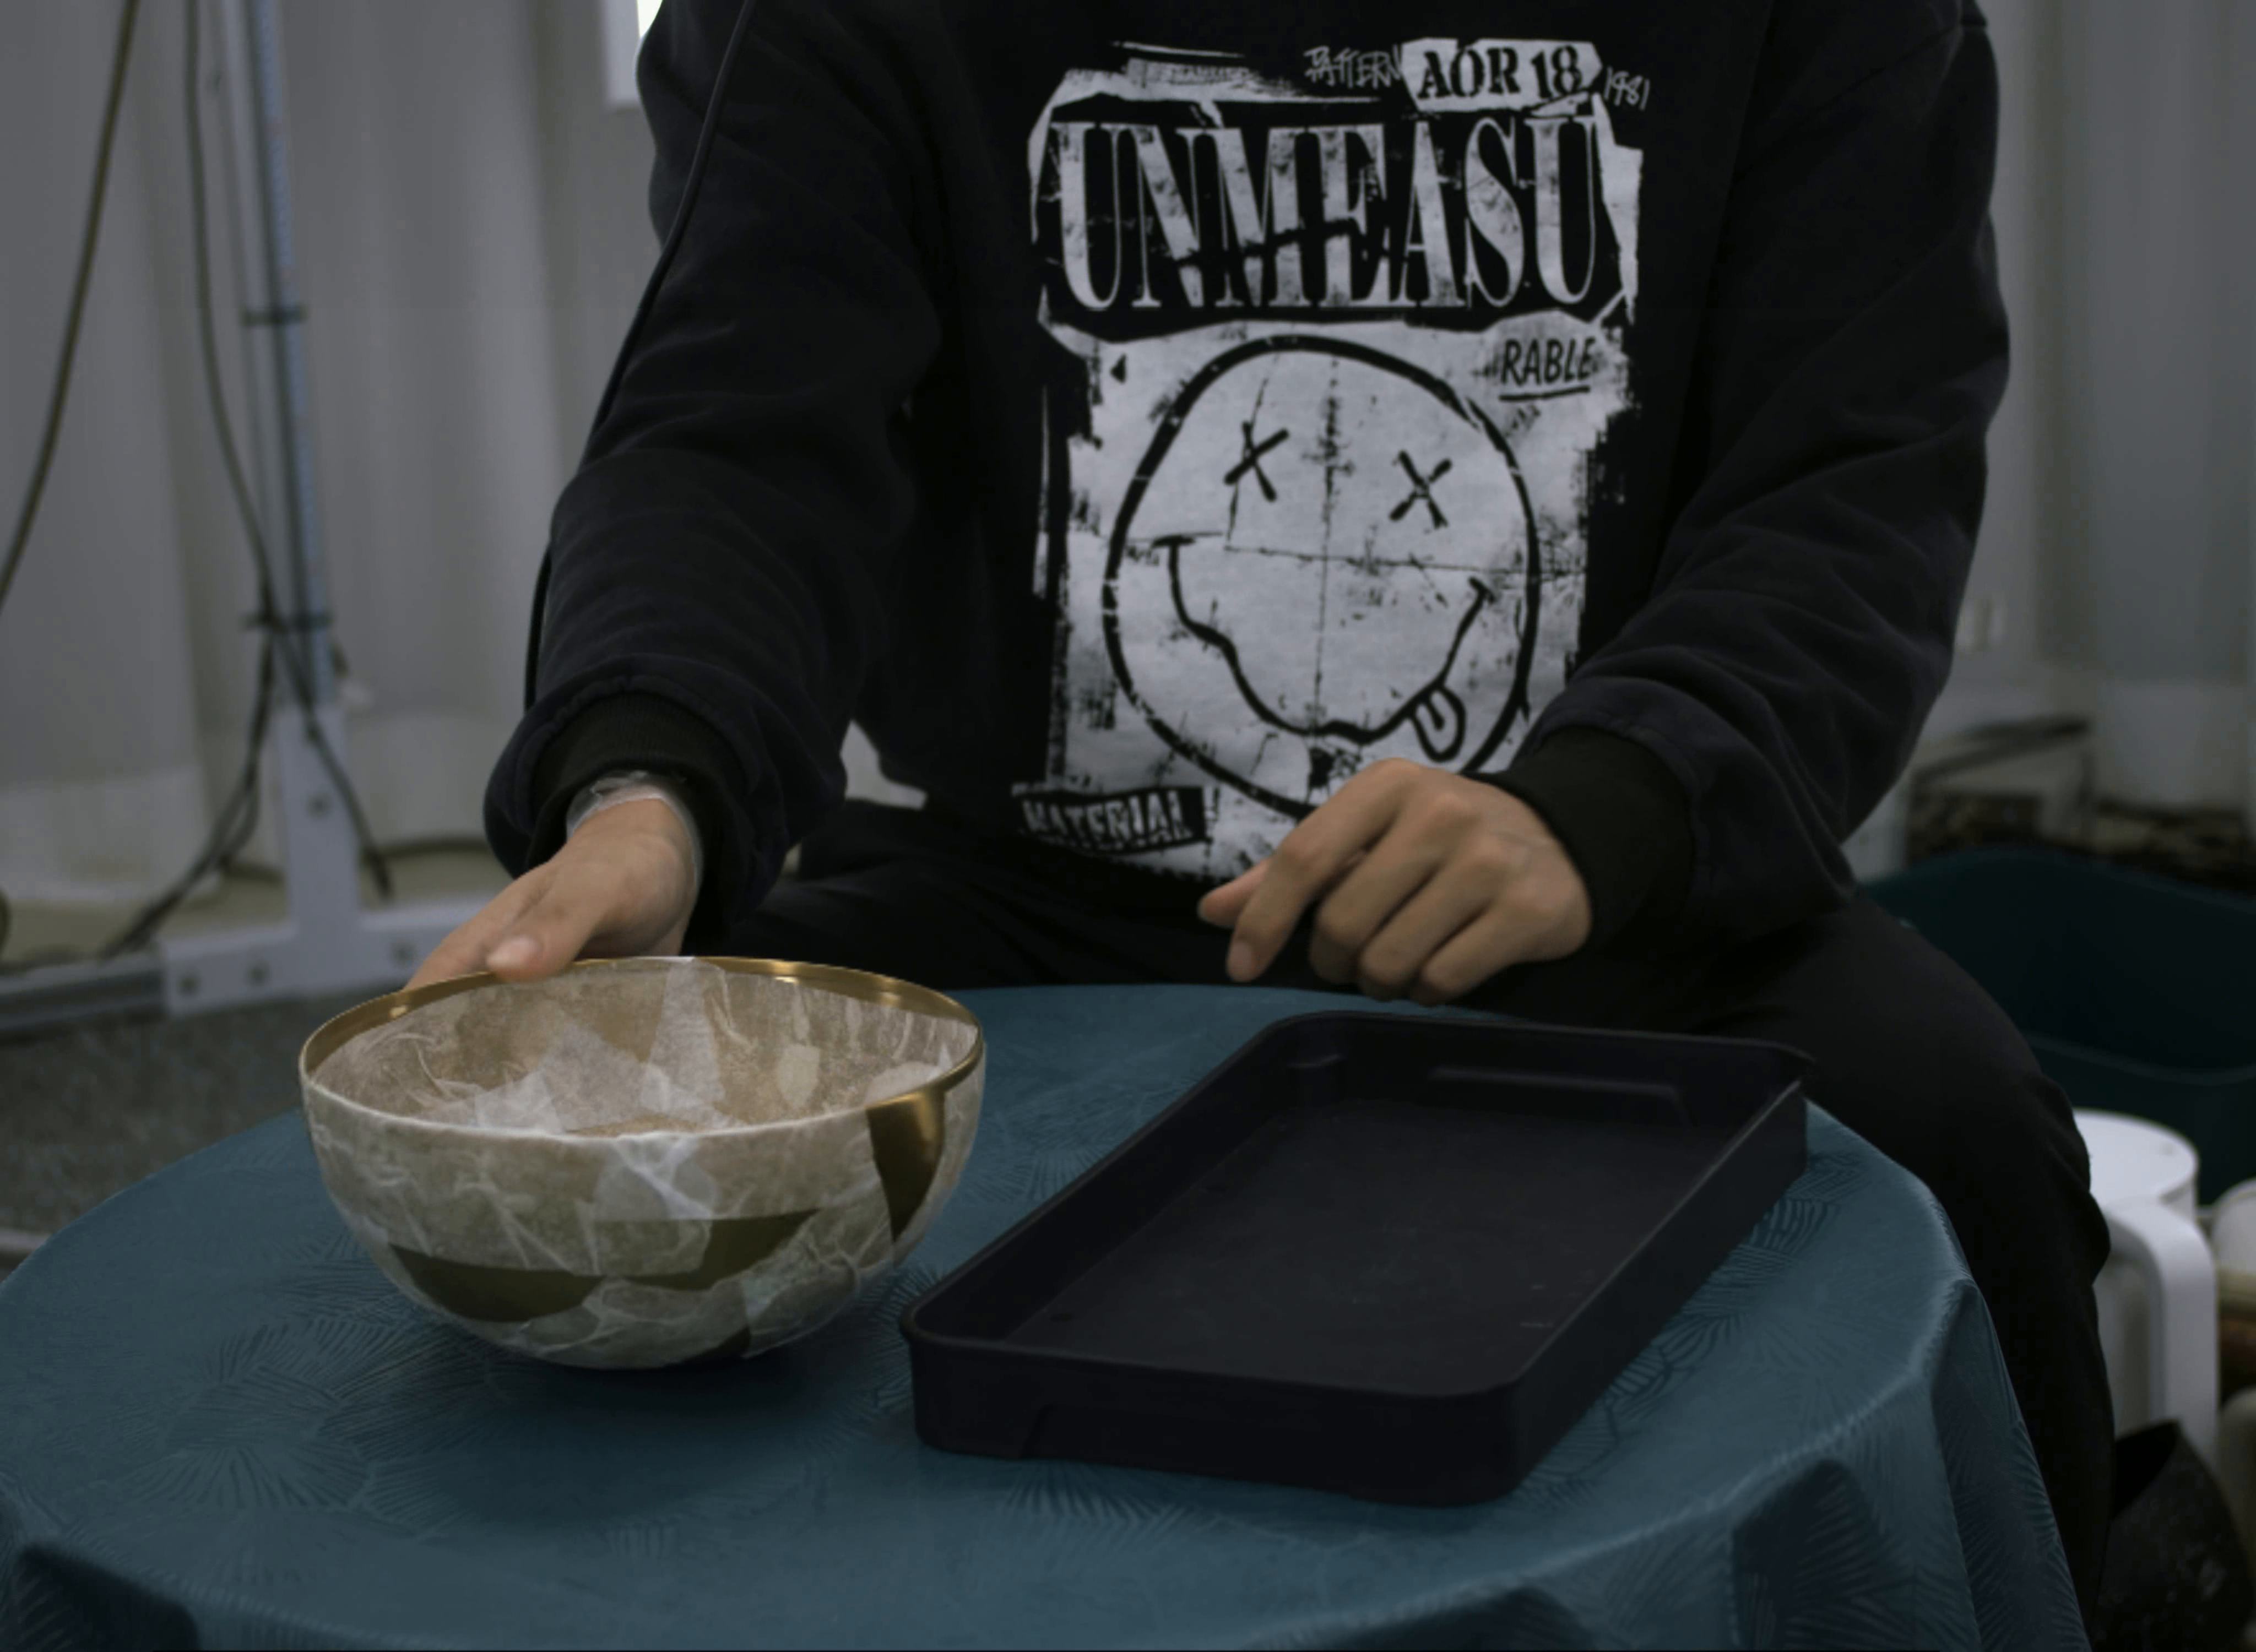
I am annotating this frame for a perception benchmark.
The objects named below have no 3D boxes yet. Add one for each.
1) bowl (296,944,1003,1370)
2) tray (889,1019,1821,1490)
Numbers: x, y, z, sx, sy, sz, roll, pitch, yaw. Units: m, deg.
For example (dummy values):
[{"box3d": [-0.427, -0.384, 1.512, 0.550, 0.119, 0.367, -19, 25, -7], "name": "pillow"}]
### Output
[{"box3d": [-0.137, 0.104, 1.599, 0.214, 0.094, 0.216, -2, 13, 0], "name": "bowl"}, {"box3d": [0.075, 0.119, 1.607, 0.184, 0.037, 0.318, 3, 15, 24], "name": "tray"}]
